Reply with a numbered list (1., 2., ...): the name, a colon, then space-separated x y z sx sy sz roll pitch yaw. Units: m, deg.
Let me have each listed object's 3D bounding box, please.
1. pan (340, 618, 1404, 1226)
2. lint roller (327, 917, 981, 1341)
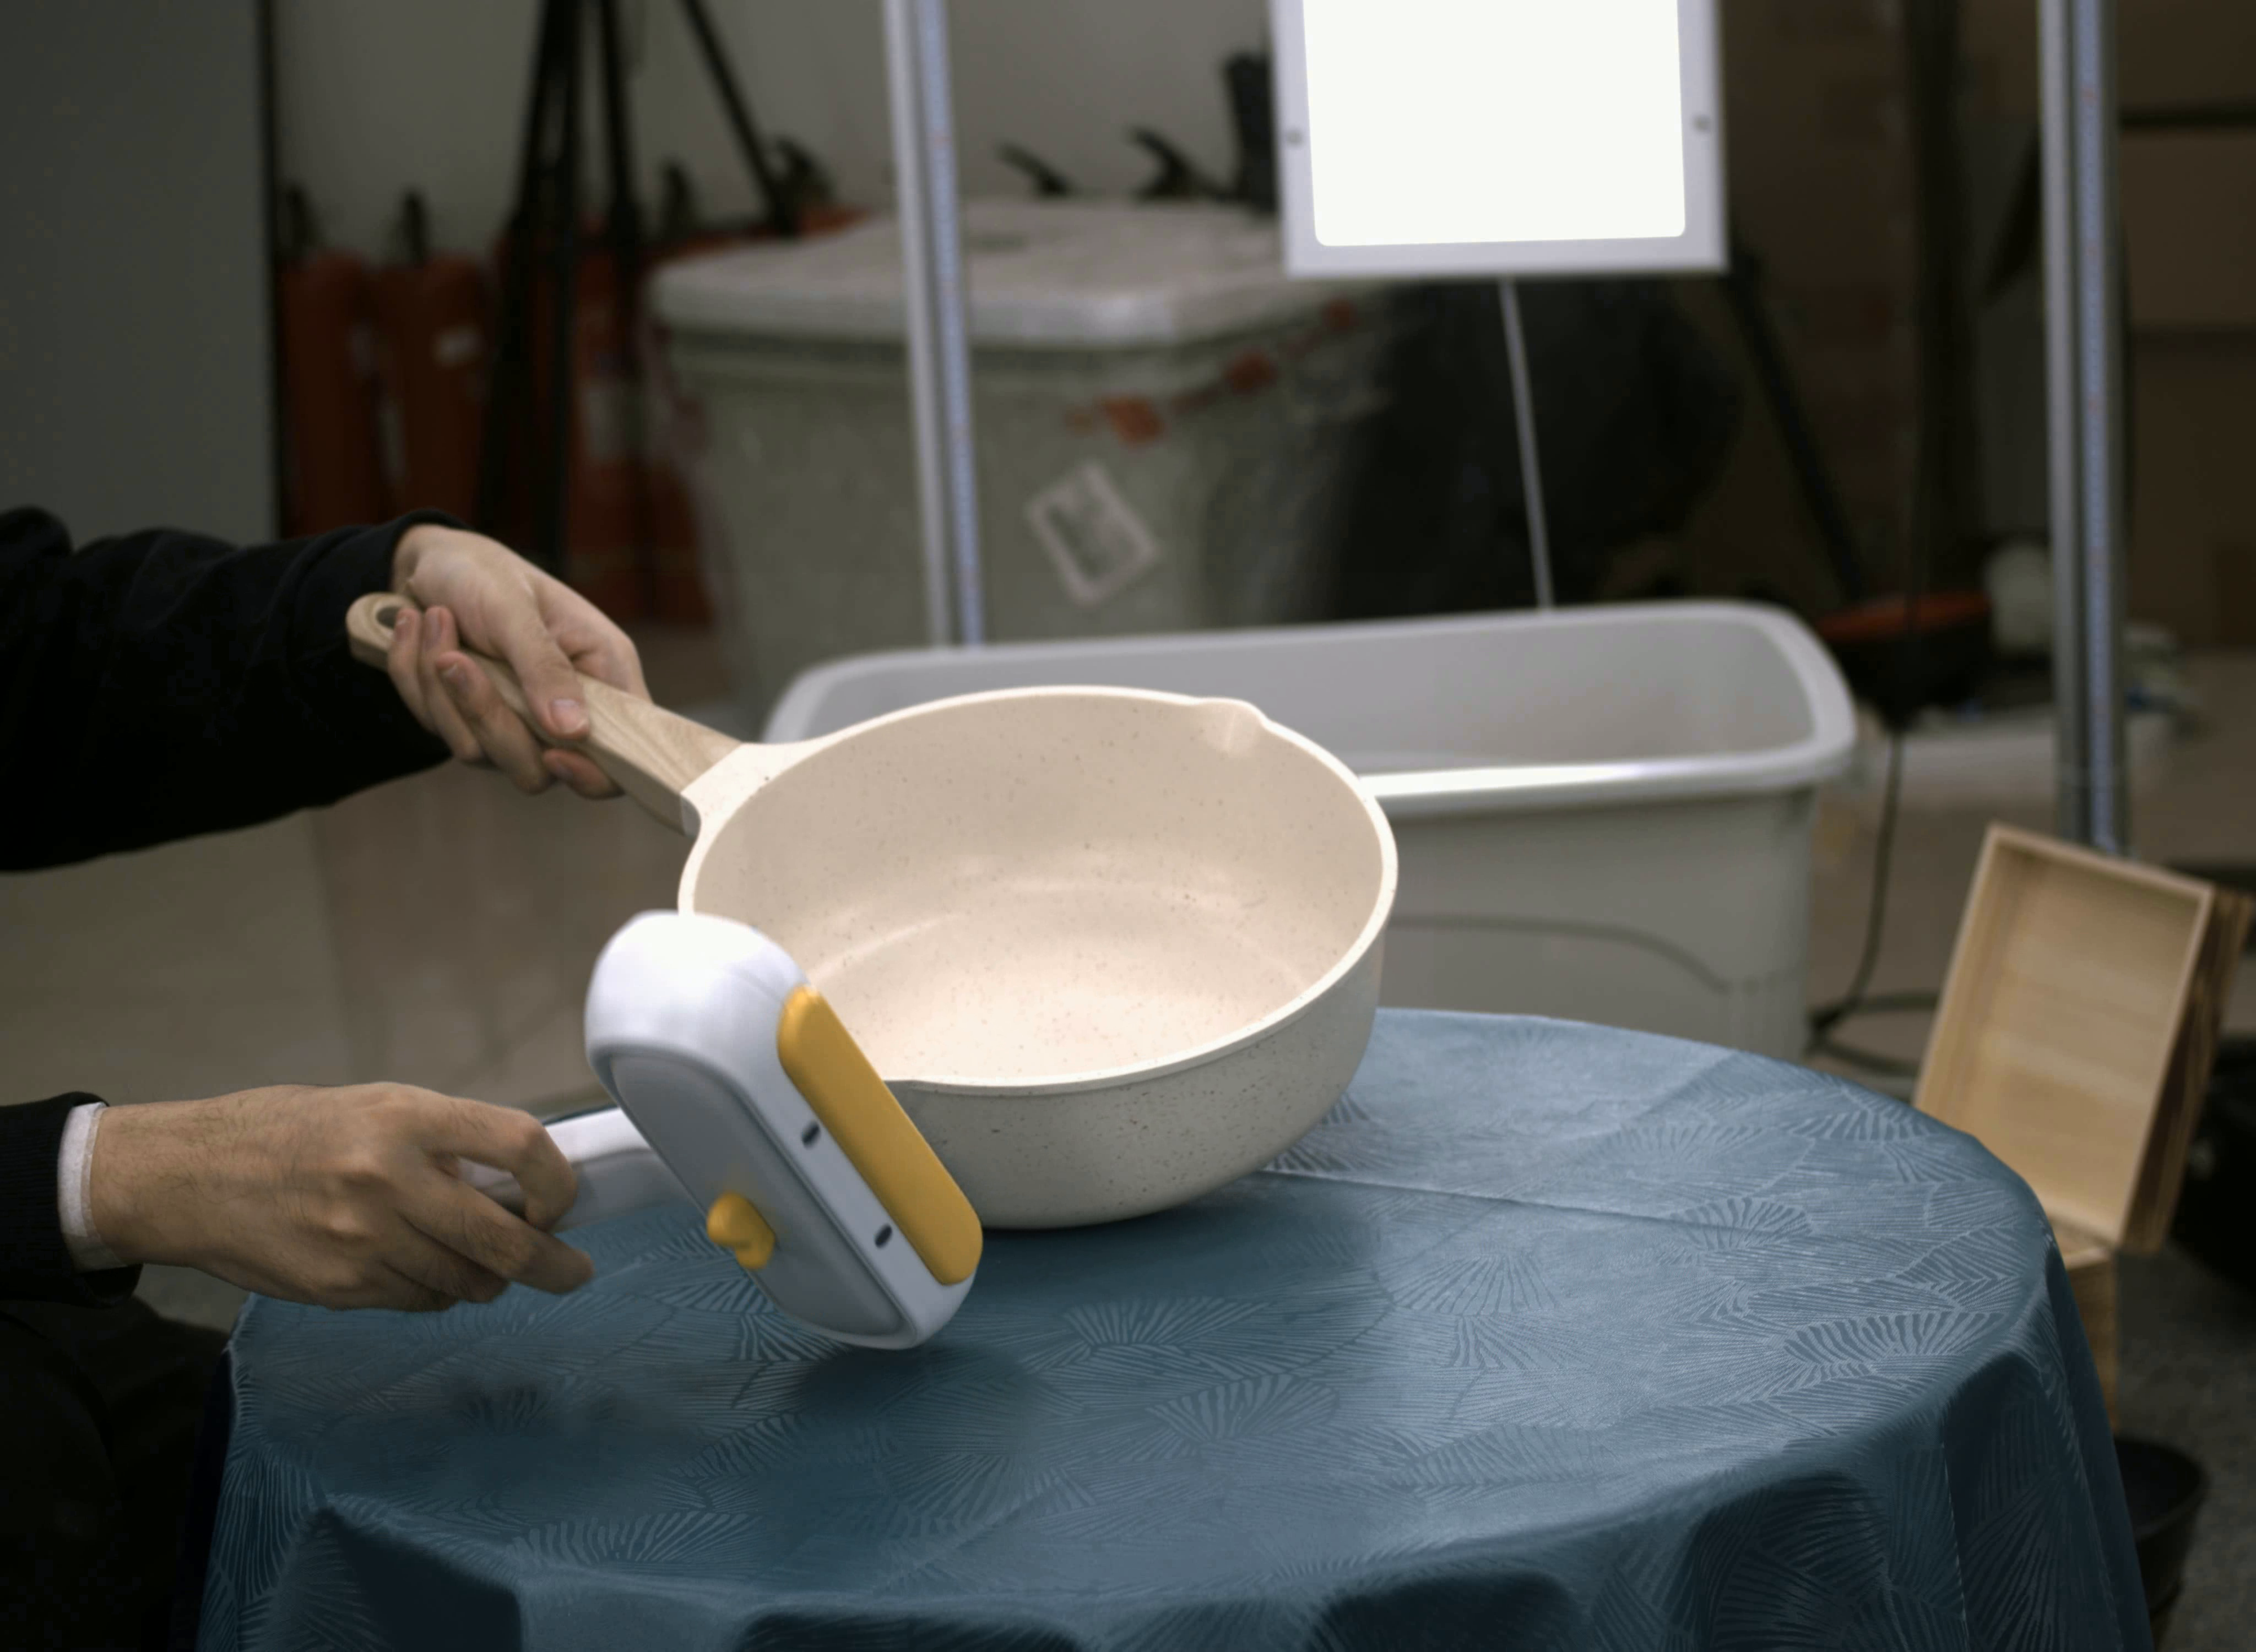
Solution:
1. pan: -0.103 0.019 1.975 0.442 0.102 0.258 17 41 31
2. lint roller: -0.160 0.105 1.714 0.196 0.074 0.190 -4 -32 28
